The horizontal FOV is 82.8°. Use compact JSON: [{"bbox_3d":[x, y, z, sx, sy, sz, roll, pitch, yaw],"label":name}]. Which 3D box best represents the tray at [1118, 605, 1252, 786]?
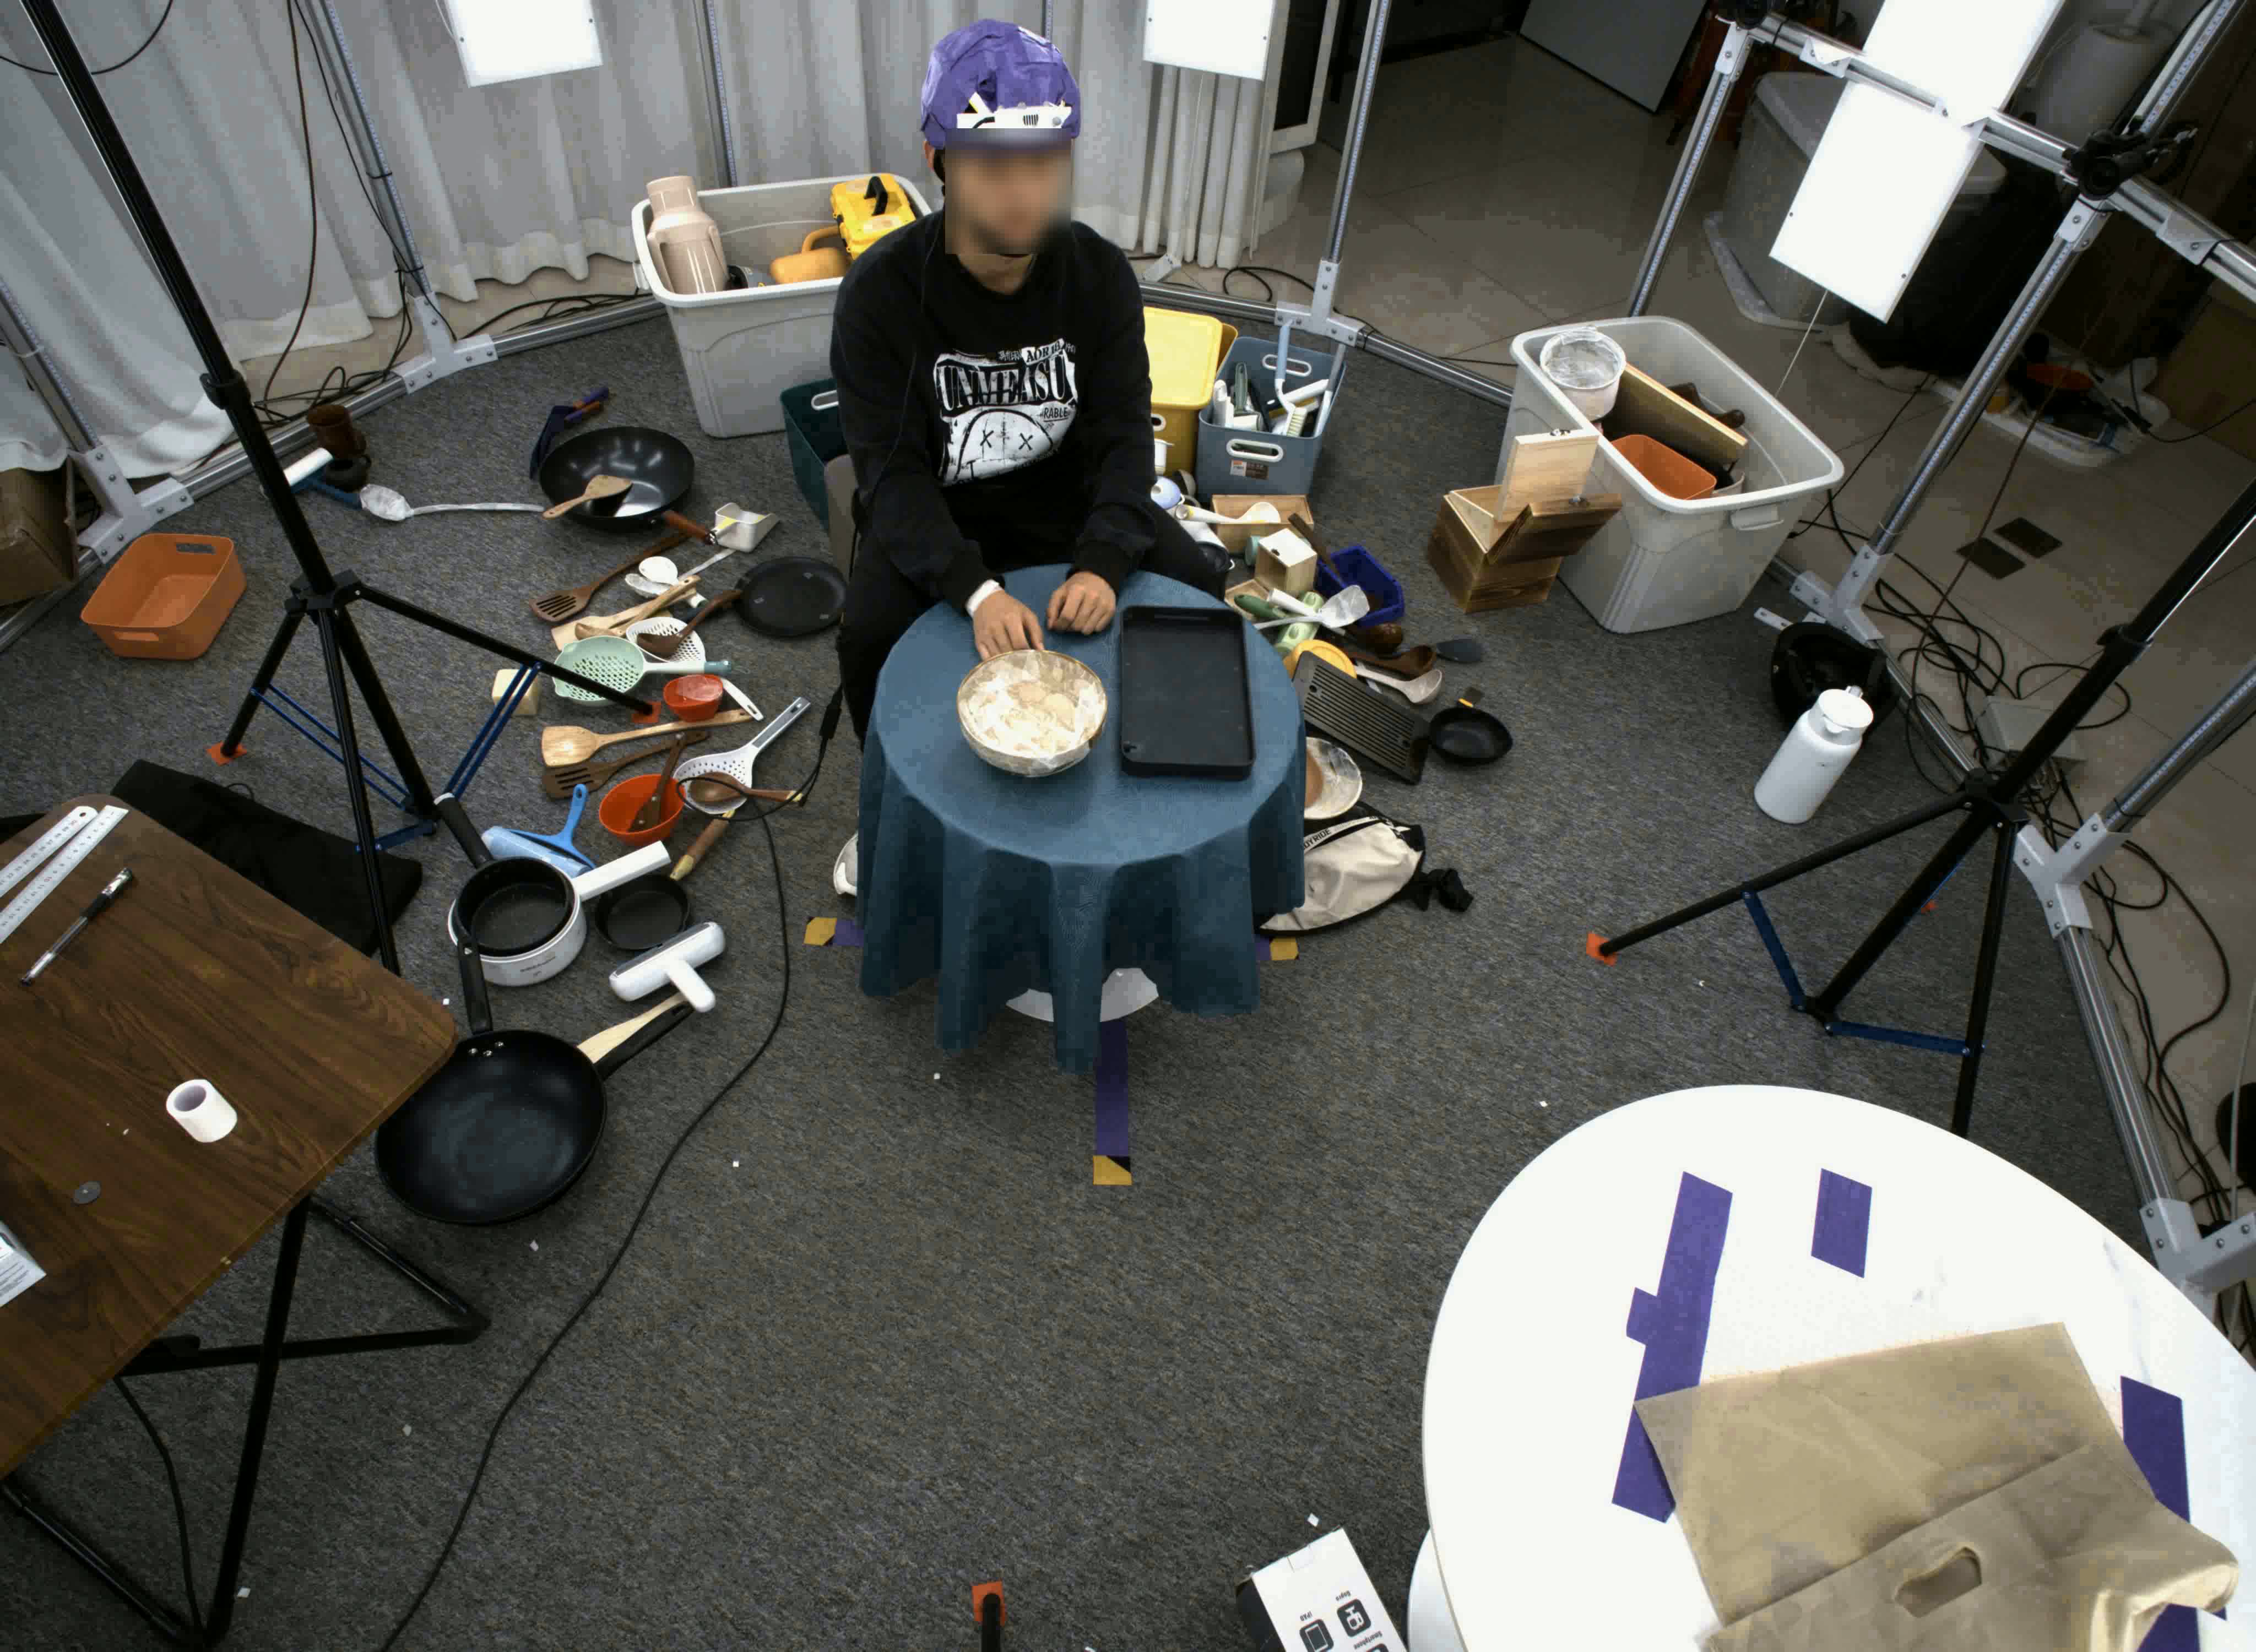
[{"bbox_3d":[0.080,-0.192,1.837,0.184,0.036,0.326,4,50,-2],"label":"tray"}]

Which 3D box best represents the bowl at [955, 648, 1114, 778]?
[{"bbox_3d":[-0.125,-0.139,1.736,0.214,0.092,0.220,1,49,-1],"label":"bowl"}]
